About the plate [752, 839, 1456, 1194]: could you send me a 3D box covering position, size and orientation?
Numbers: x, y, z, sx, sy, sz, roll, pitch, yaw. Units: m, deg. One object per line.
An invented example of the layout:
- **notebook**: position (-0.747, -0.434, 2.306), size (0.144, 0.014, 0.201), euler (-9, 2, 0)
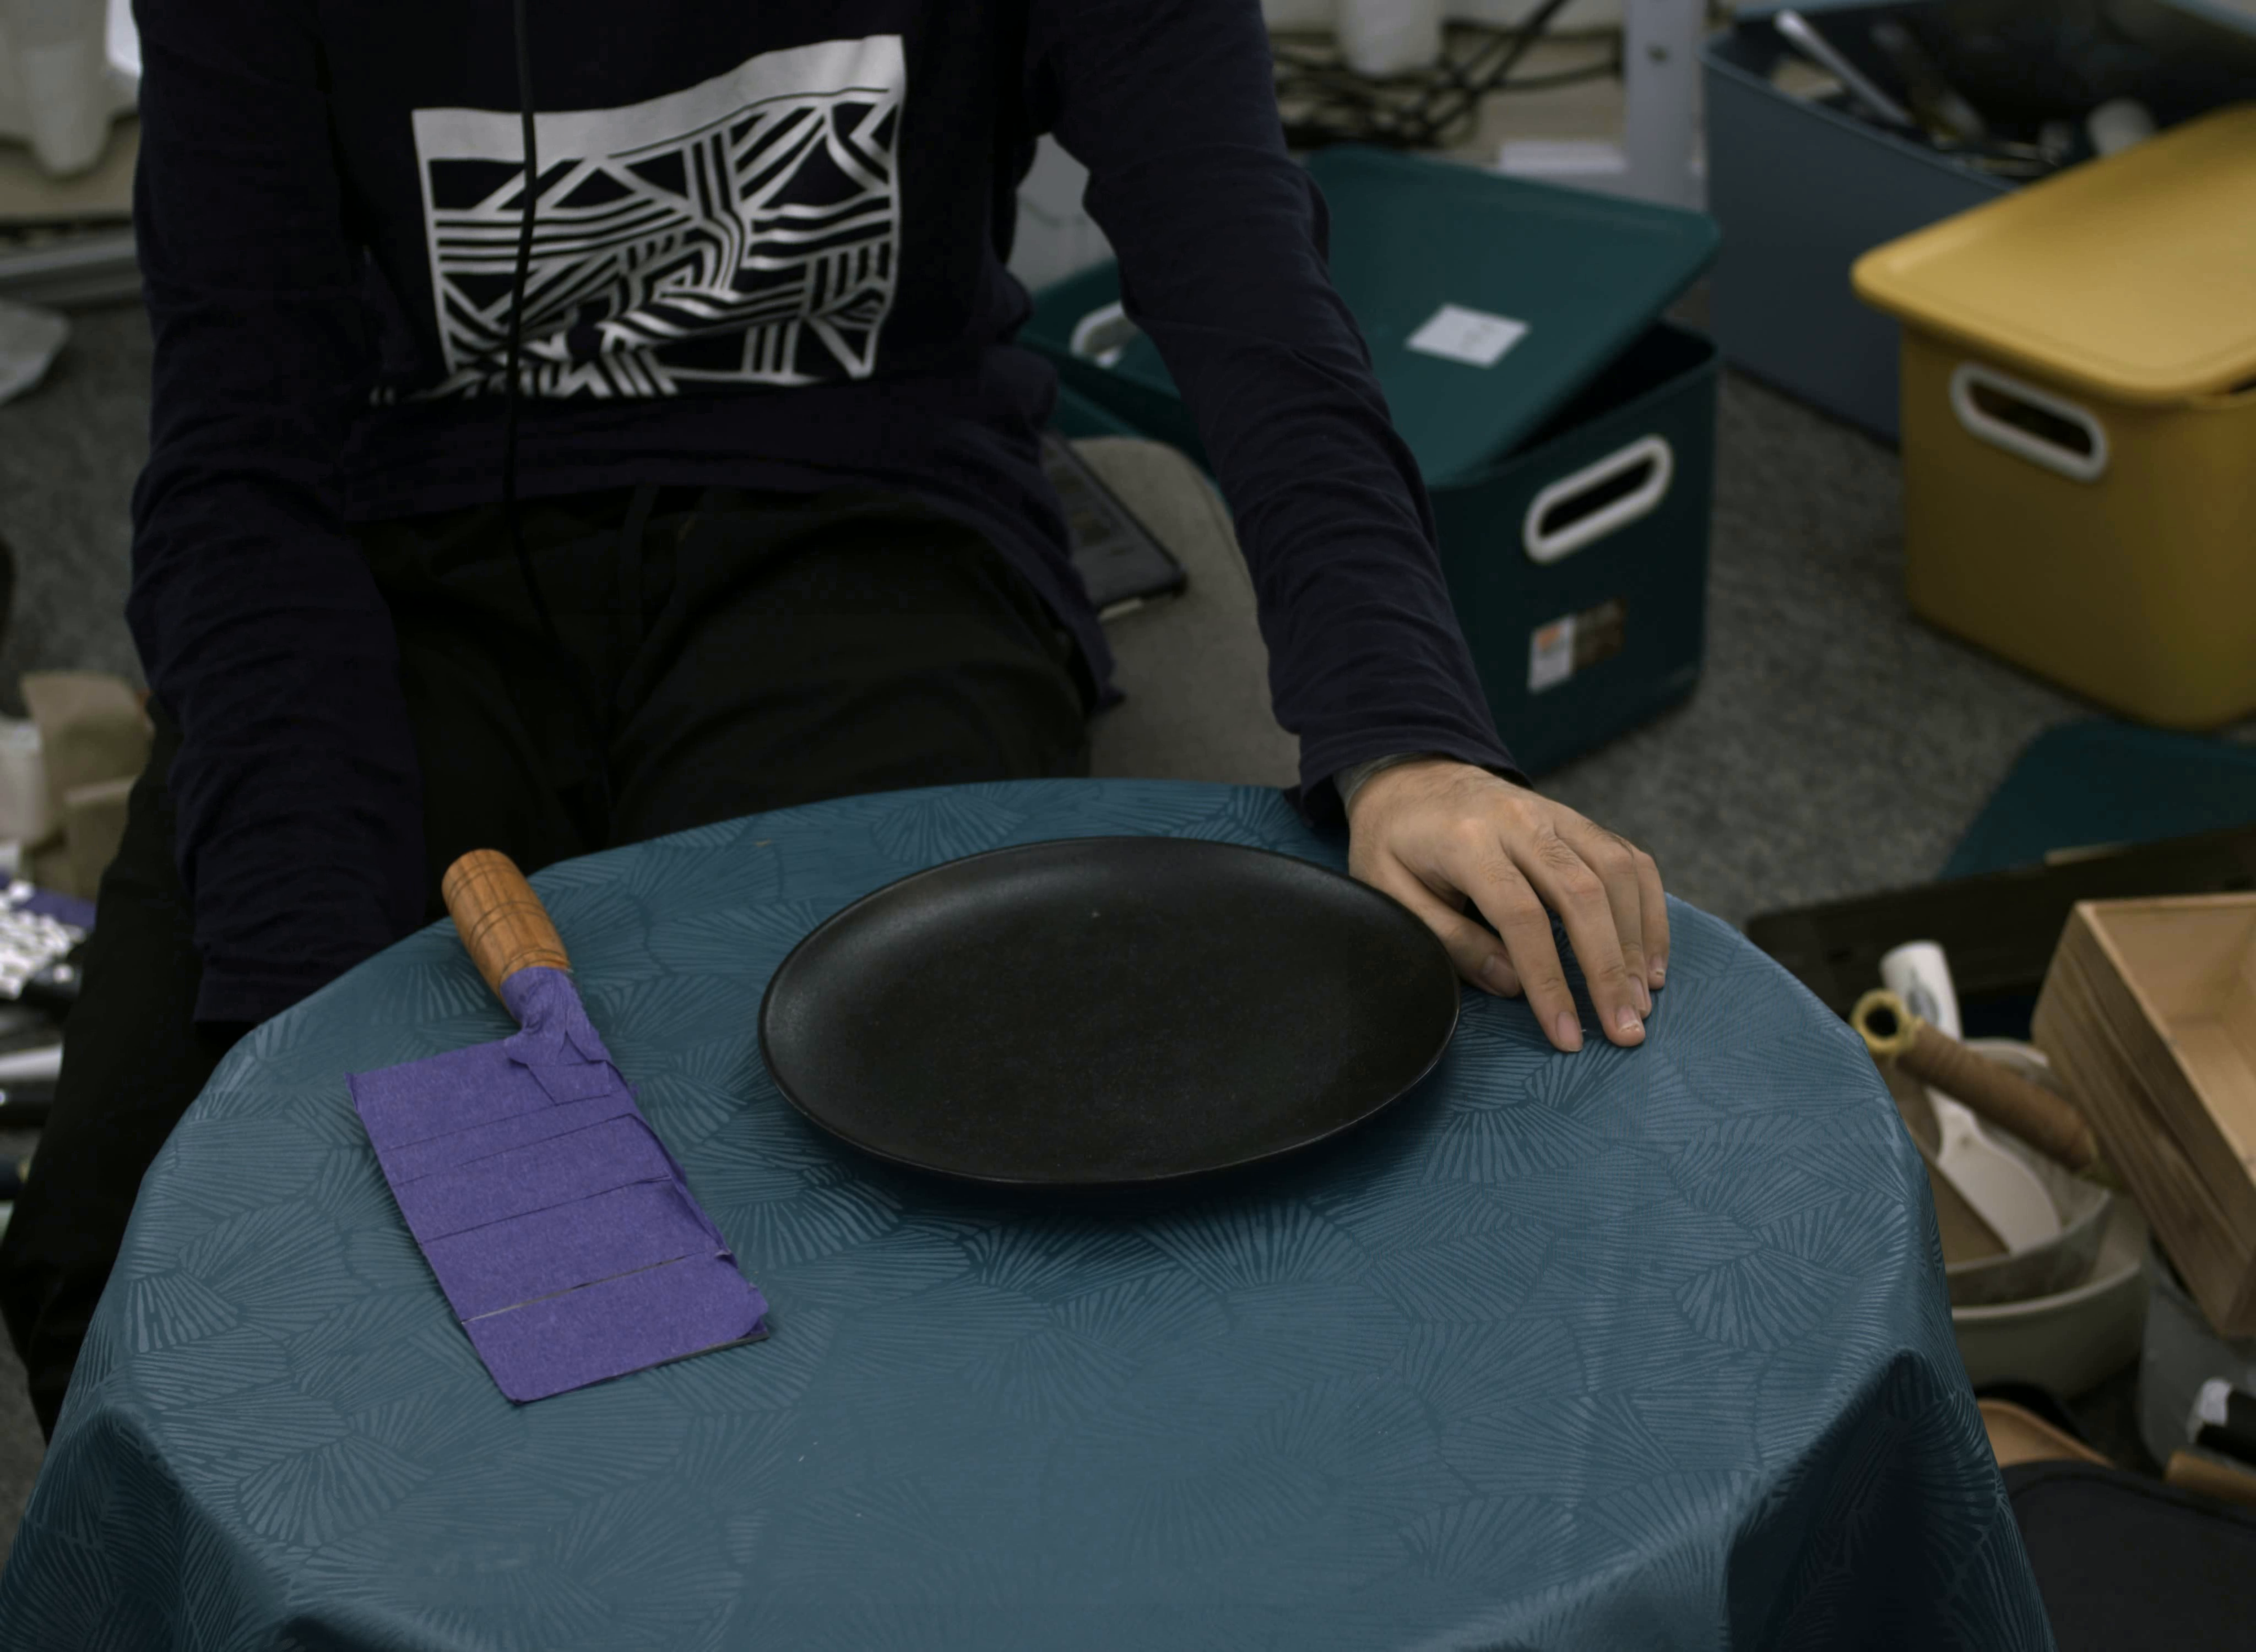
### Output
- **plate**: position (-0.008, 0.069, 1.939), size (0.243, 0.023, 0.248), euler (-2, 27, 1)

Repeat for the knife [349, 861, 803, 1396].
- **knife**: position (-0.209, 0.098, 1.898), size (0.104, 0.032, 0.317), euler (-12, 29, -19)
